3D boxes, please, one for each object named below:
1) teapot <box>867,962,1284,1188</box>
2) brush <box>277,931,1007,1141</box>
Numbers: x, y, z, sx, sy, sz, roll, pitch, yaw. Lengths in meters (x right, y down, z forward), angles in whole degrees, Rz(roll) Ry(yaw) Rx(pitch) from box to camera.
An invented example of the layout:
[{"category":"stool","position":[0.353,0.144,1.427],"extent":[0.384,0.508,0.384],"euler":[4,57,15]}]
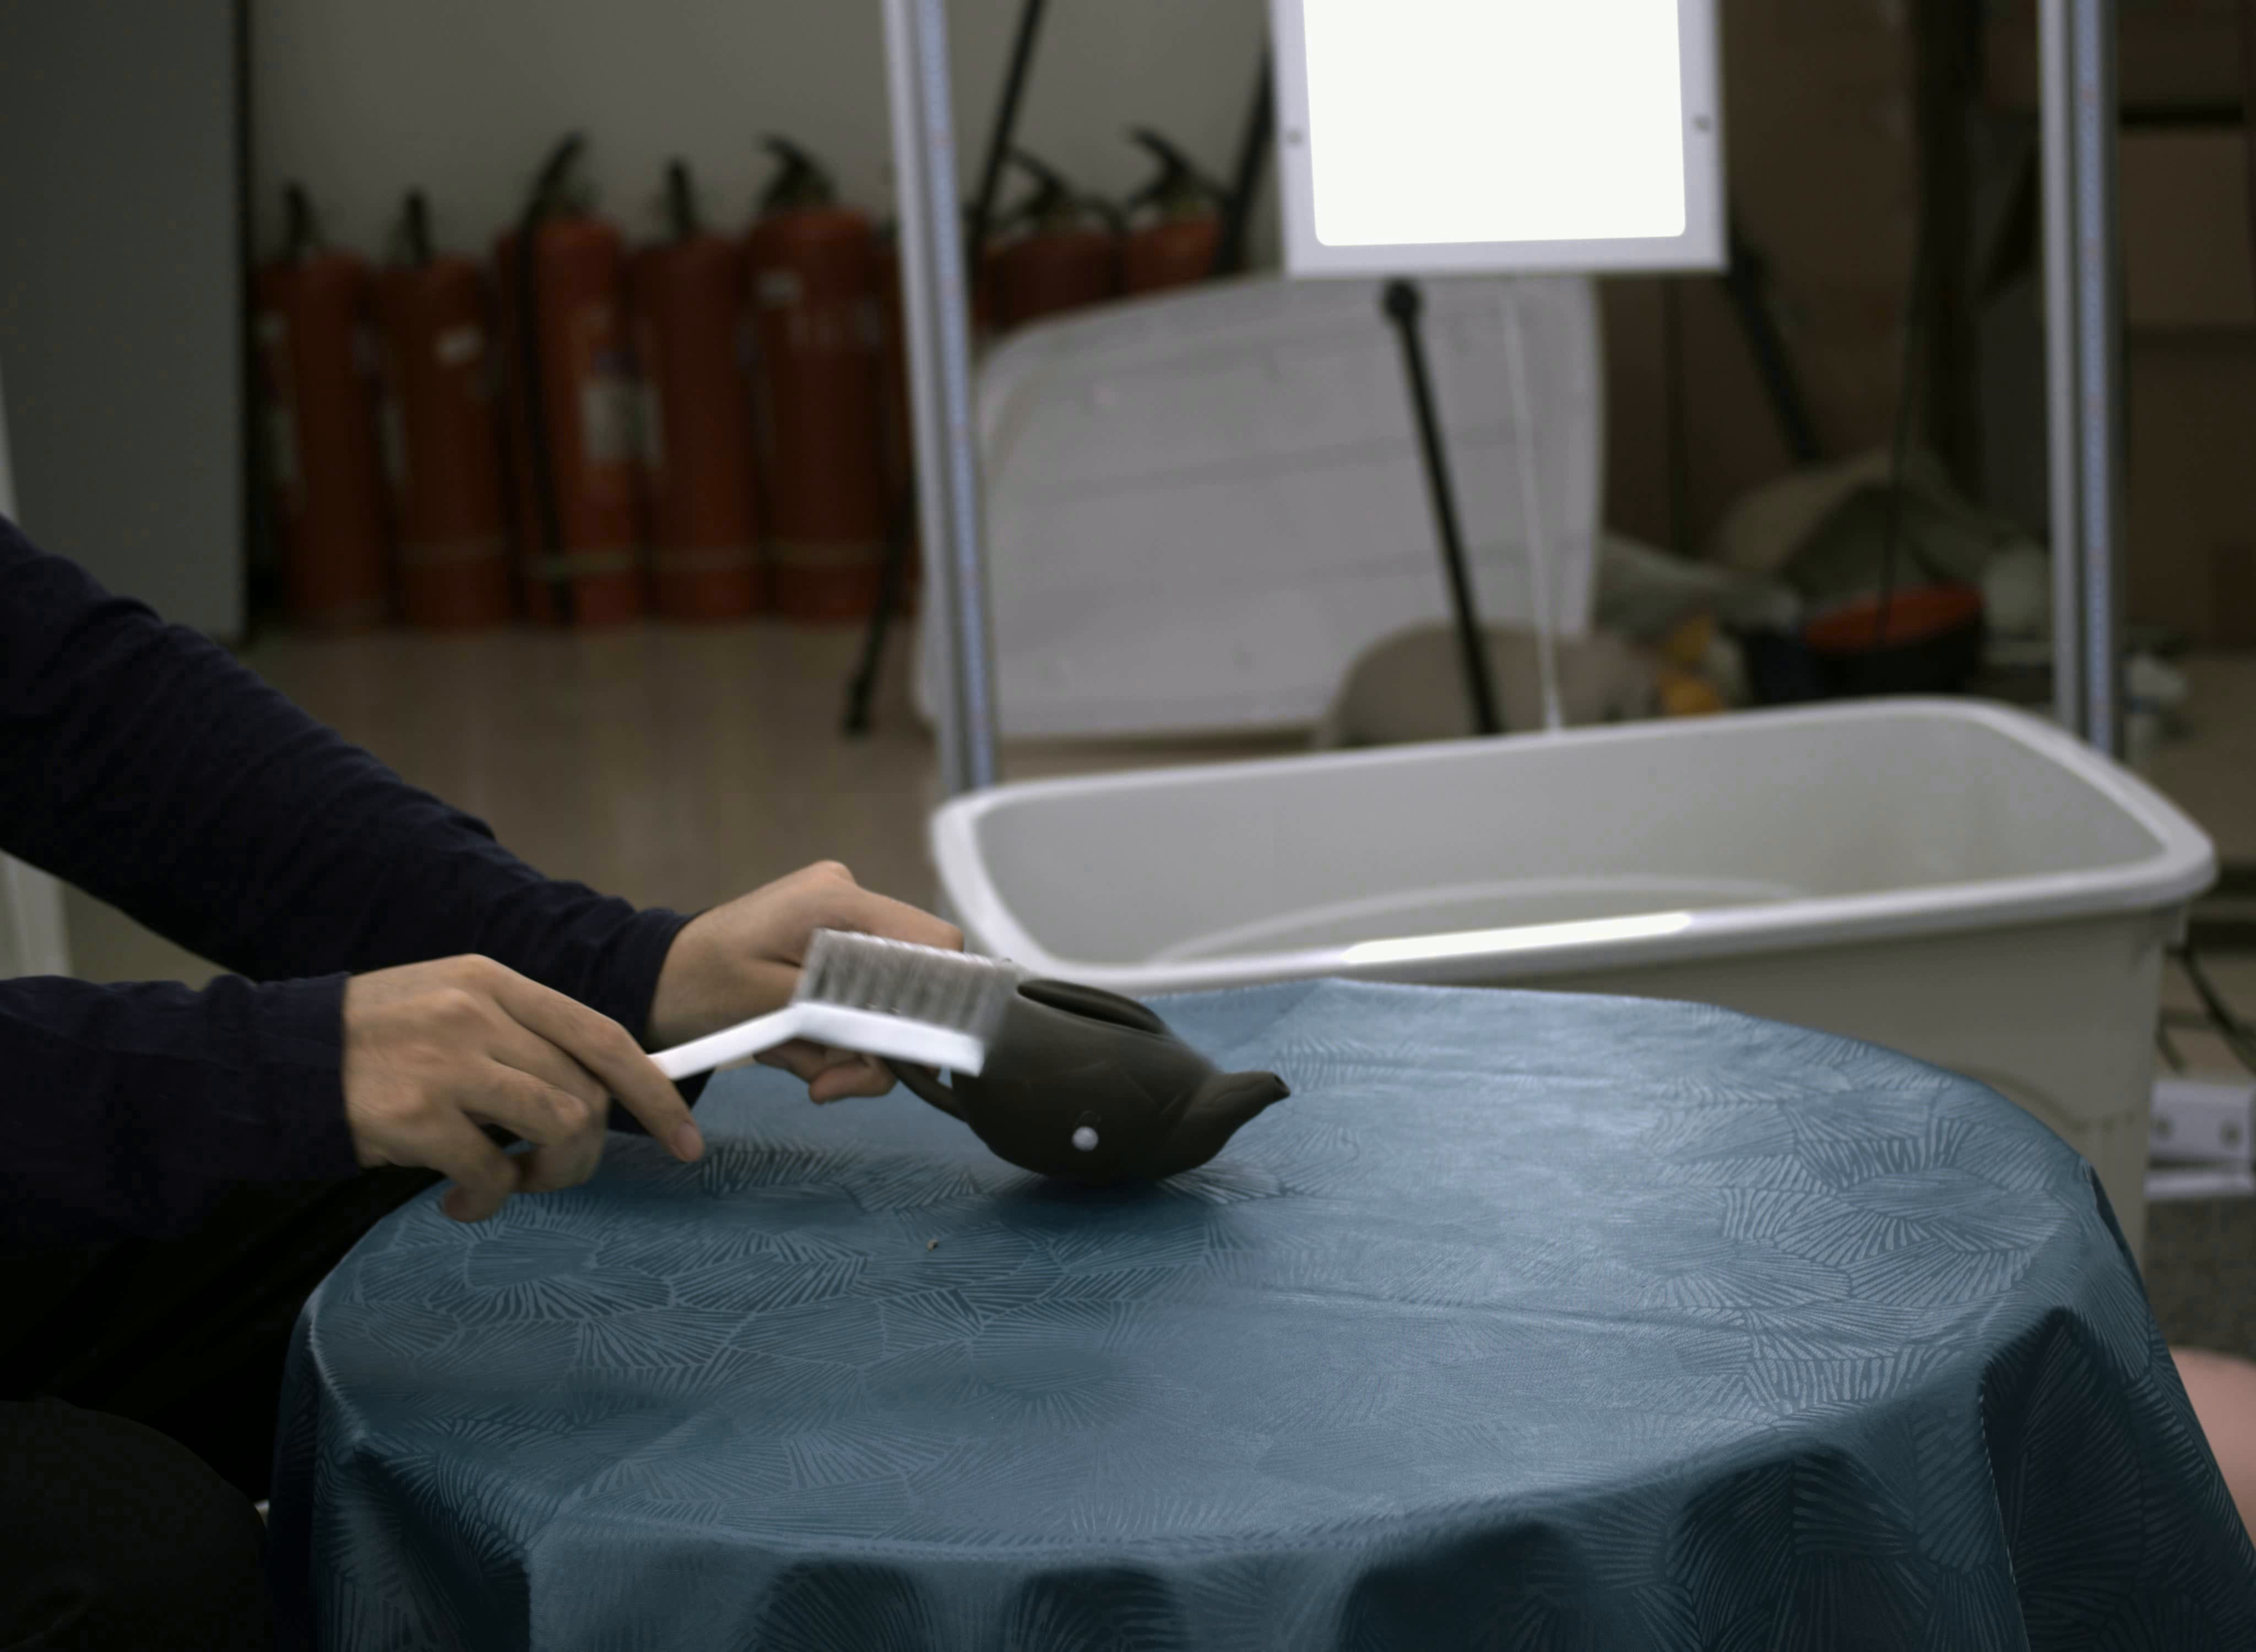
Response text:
[{"category":"teapot","position":[-0.022,0.087,1.911],"extent":[0.156,0.065,0.091],"euler":[17,10,17]},{"category":"brush","position":[-0.158,0.066,1.768],"extent":[0.245,0.050,0.034],"euler":[-7,2,11]}]
